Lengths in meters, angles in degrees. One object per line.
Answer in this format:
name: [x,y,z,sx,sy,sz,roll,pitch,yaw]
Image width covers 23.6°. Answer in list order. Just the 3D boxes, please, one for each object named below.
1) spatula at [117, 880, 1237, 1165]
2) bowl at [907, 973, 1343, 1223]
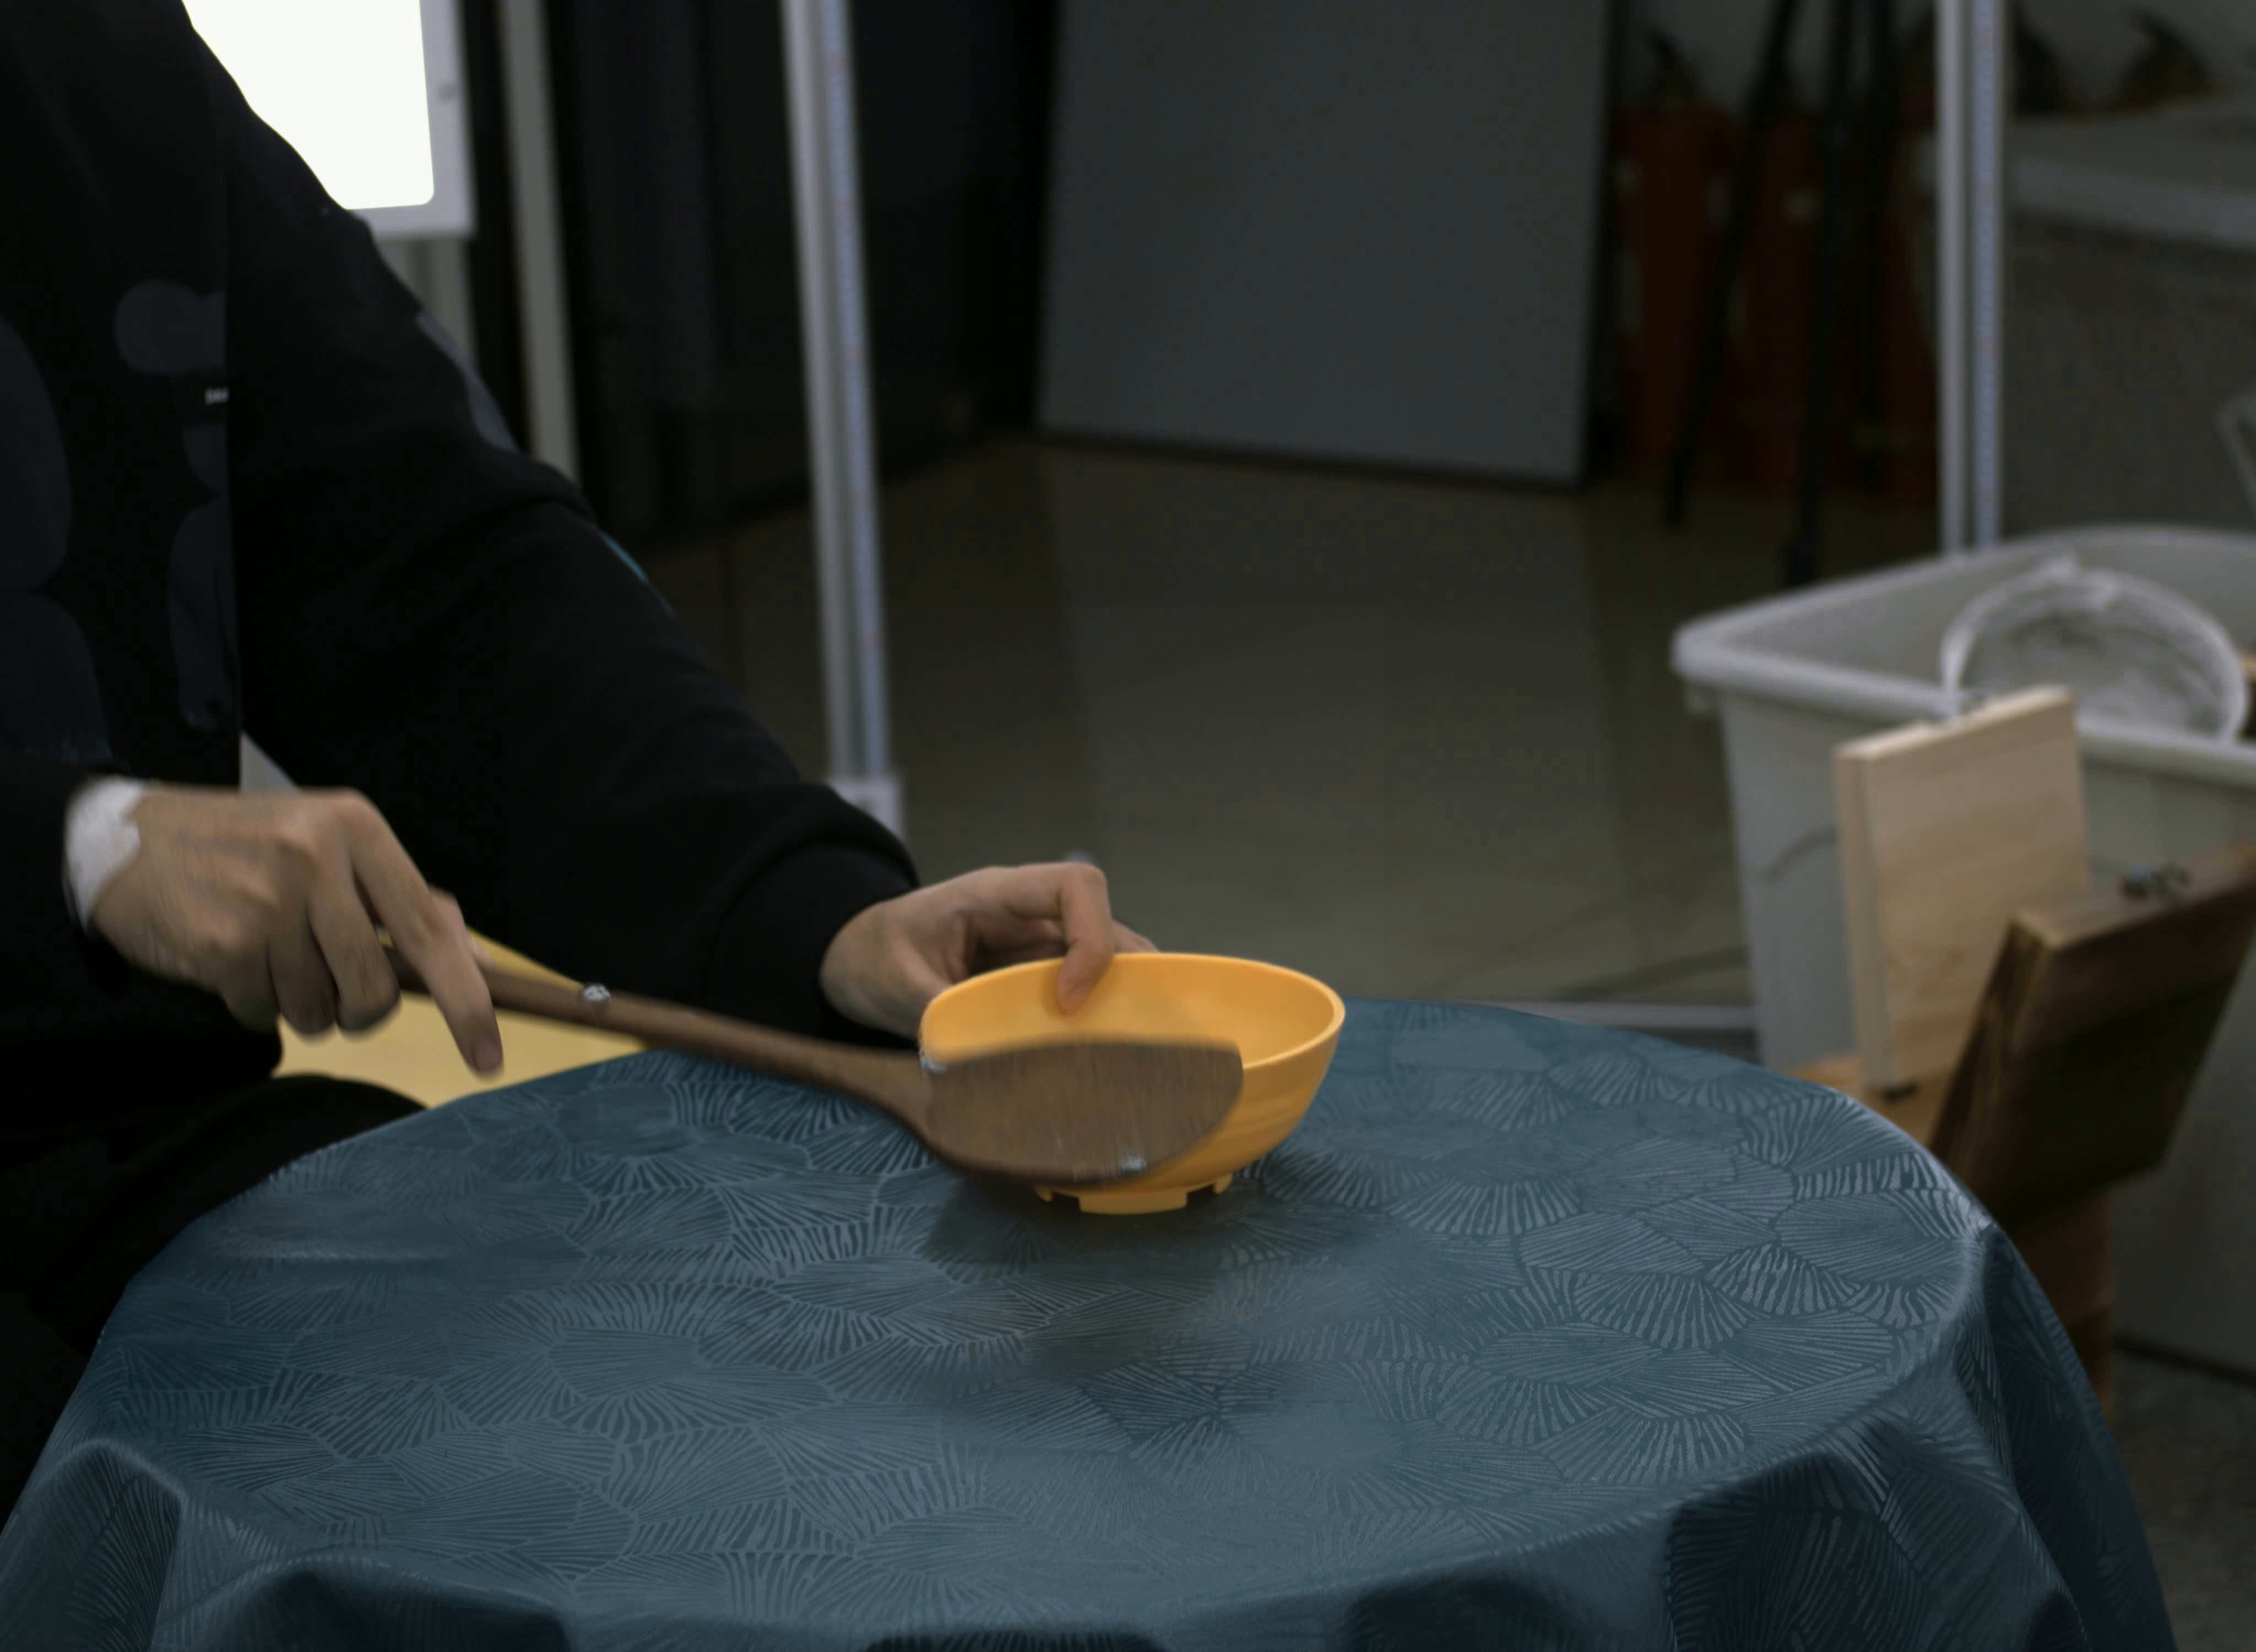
spatula: [-0.149,0.054,1.670,0.386,0.016,0.095,10,28,23]
bowl: [0.000,0.093,1.769,0.143,0.061,0.145,-2,12,0]
